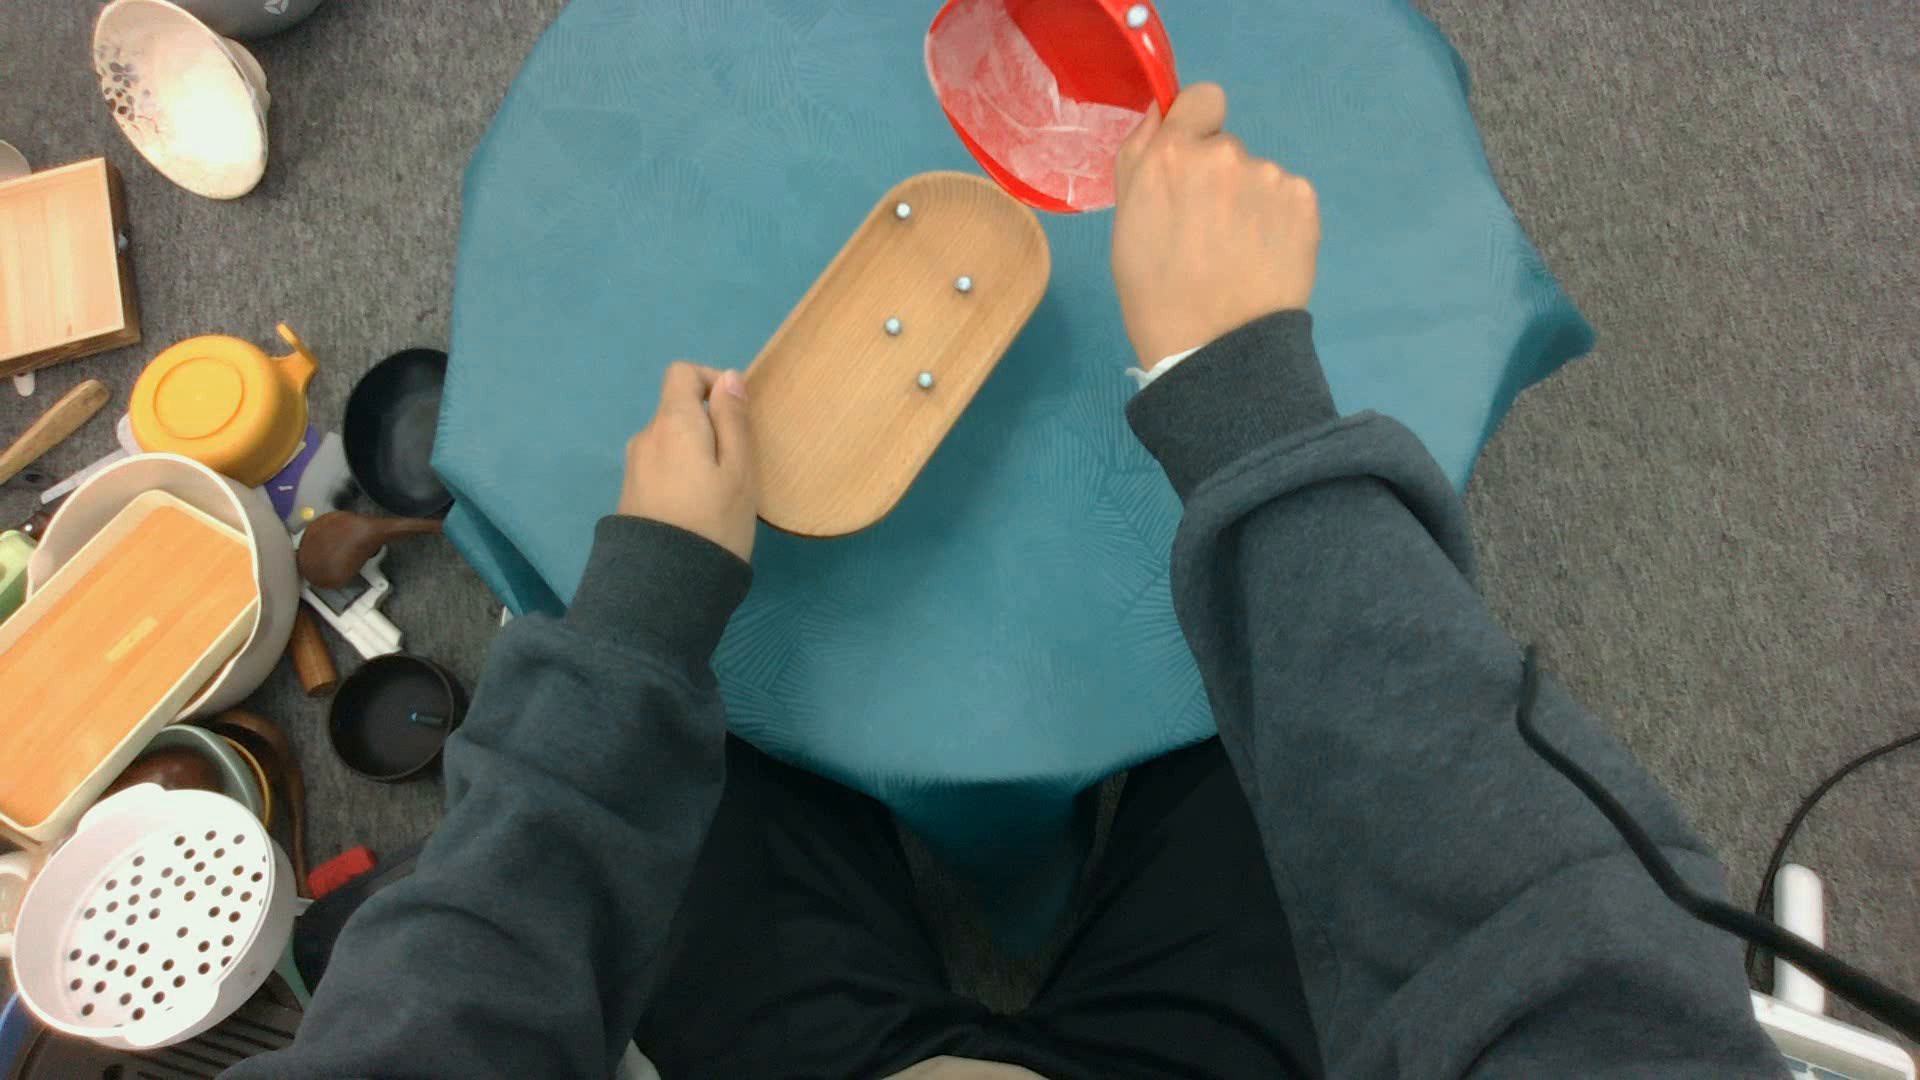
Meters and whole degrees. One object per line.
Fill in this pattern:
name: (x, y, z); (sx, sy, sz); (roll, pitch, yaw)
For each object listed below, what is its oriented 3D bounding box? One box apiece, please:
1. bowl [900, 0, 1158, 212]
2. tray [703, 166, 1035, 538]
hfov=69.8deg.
bowl: (0.038, -0.204, 0.600); (0.119, 0.118, 0.051); (28, 59, 9)
tray: (-0.043, -0.100, 0.706); (0.101, 0.020, 0.232); (31, 69, 2)
